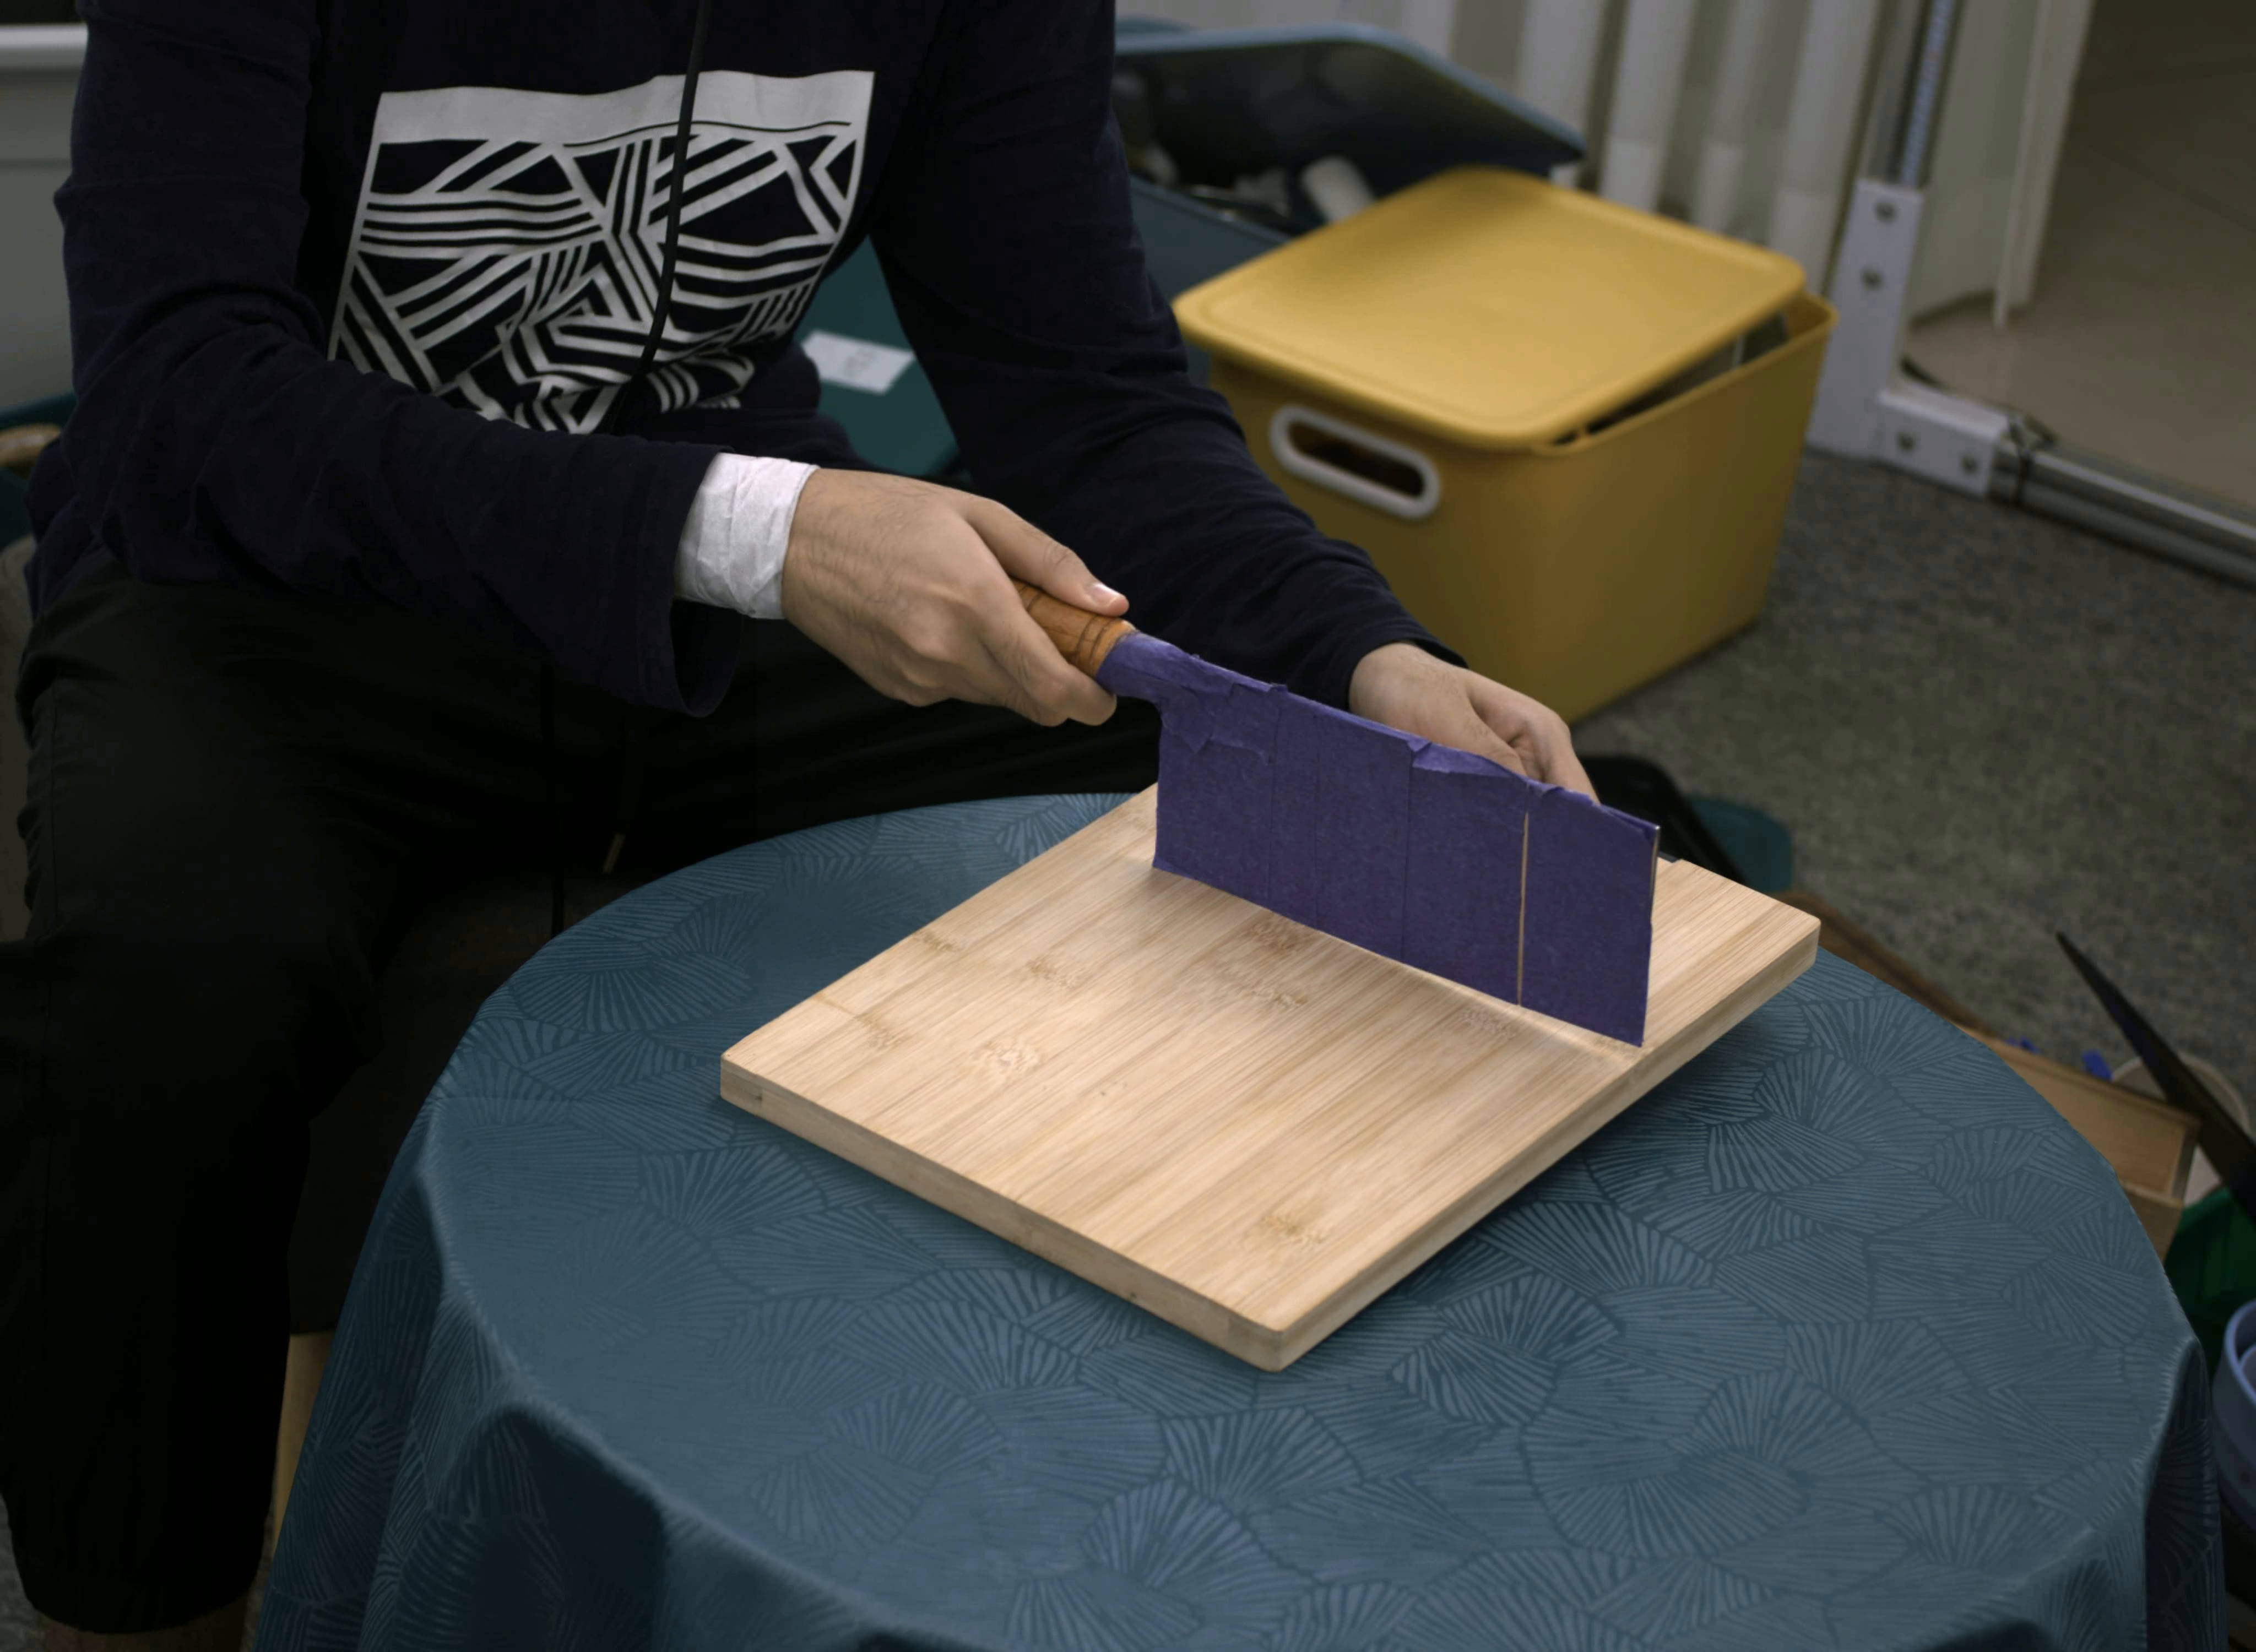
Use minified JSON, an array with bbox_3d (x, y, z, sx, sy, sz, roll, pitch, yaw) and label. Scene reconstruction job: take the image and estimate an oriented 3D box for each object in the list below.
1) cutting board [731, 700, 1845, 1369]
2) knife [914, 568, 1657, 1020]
[{"bbox_3d":[0.060,0.063,1.889,0.252,0.023,0.348,23,36,30],"label":"cutting board"},{"bbox_3d":[0.052,-0.009,1.897,0.317,0.103,0.032,21,33,33],"label":"knife"}]
